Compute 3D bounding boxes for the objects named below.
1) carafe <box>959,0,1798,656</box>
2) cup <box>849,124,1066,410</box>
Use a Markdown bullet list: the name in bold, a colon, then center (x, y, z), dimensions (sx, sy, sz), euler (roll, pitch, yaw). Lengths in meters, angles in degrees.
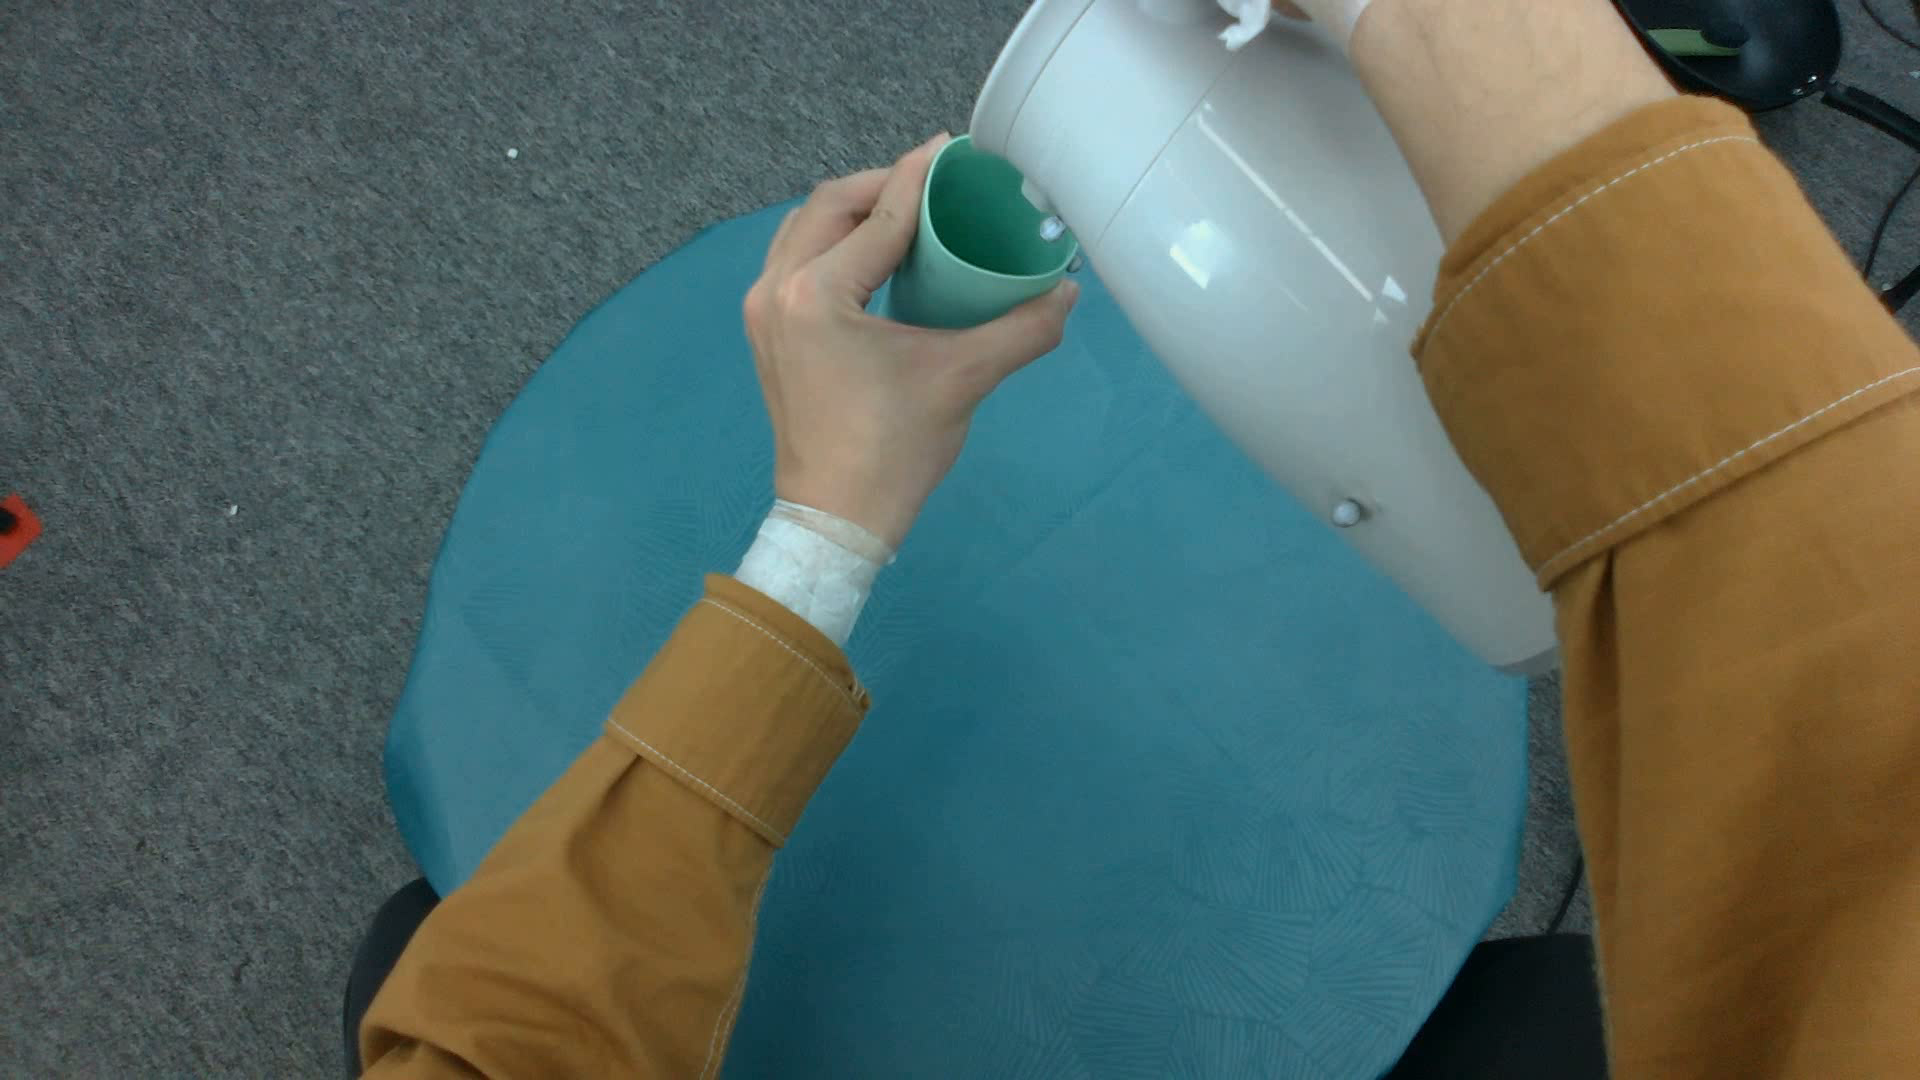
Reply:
- **carafe**: center (0.124, -0.101, 0.427), dimensions (0.248, 0.167, 0.133), euler (42, 60, 3)
- **cup**: center (-0.005, -0.109, 0.585), dimensions (0.067, 0.132, 0.067), euler (5, 69, -14)
